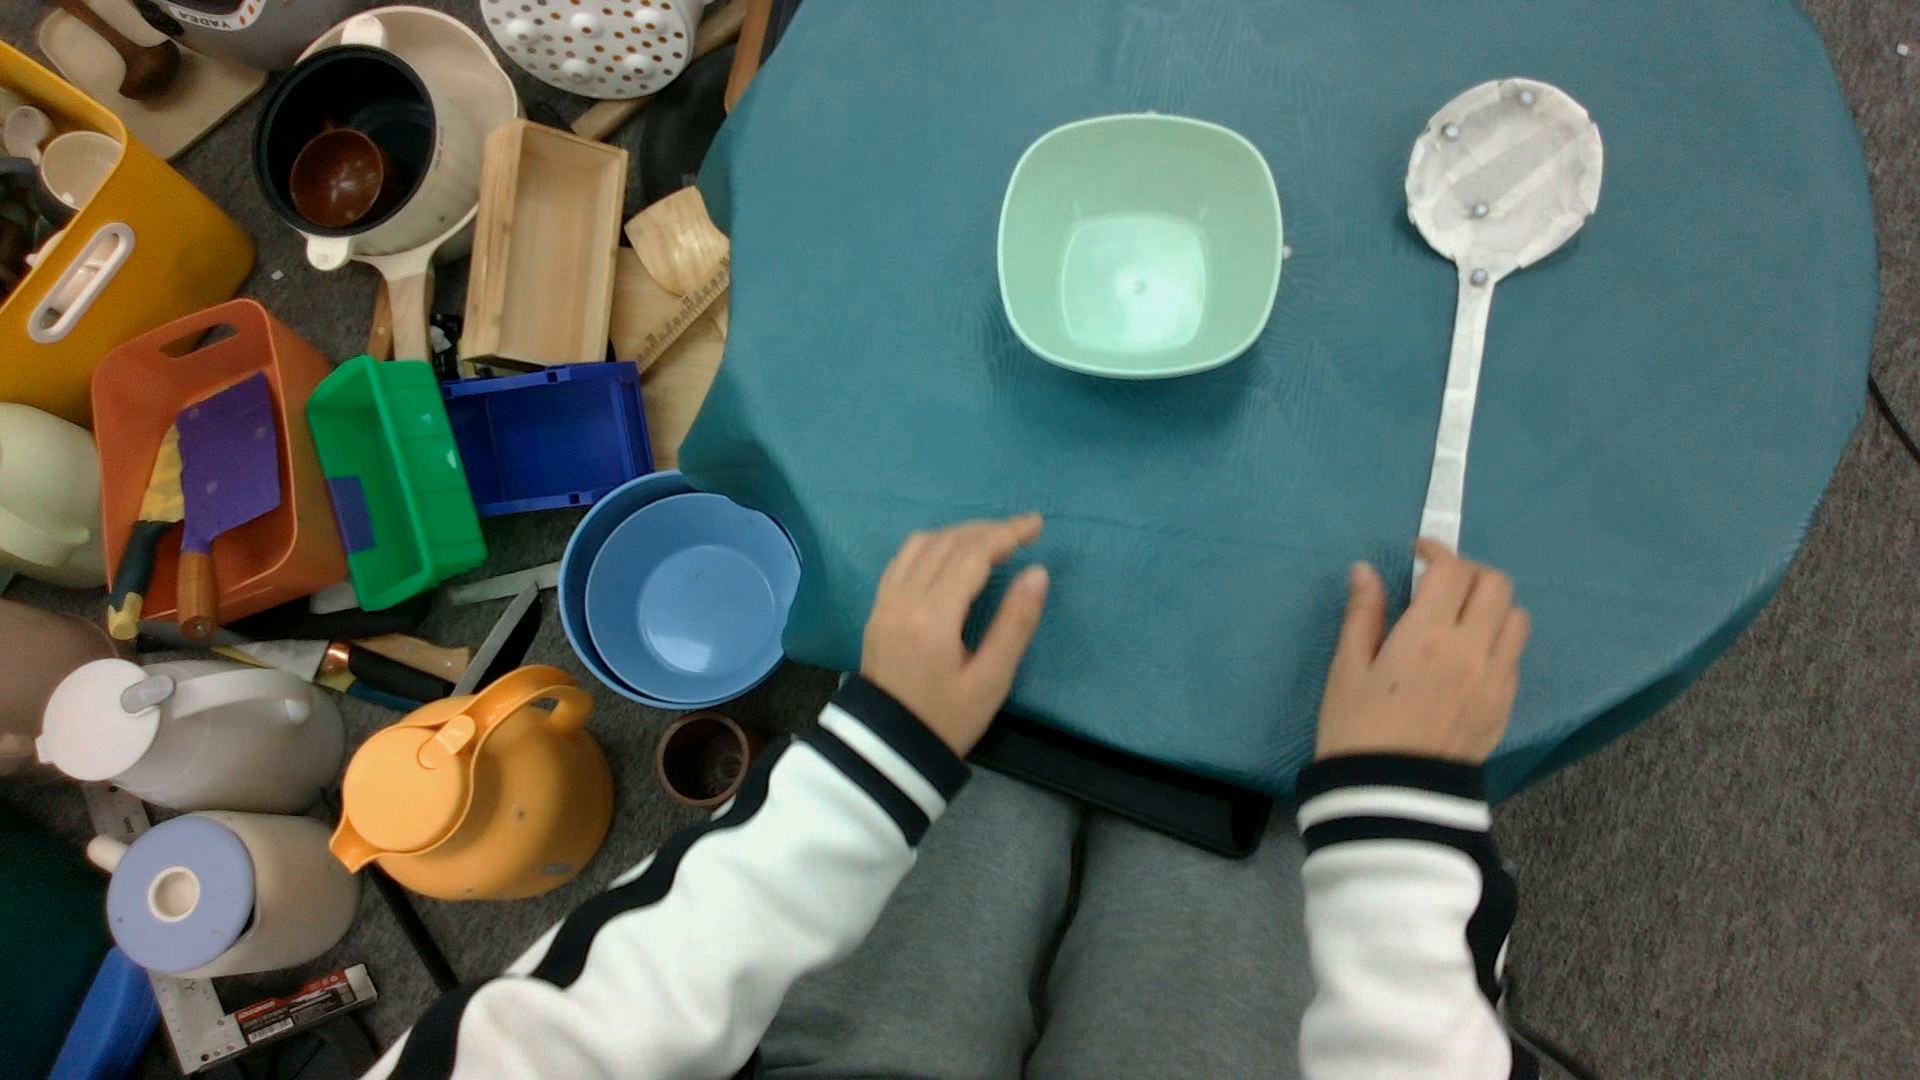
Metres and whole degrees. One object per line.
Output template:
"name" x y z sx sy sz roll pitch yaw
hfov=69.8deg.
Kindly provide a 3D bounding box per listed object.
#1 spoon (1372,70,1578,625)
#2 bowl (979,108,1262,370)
"spoon" 0.236 -0.097 0.680 0.100 0.059 0.278 13 77 11
"bowl" 0.080 -0.145 0.704 0.151 0.058 0.152 -1 76 3
